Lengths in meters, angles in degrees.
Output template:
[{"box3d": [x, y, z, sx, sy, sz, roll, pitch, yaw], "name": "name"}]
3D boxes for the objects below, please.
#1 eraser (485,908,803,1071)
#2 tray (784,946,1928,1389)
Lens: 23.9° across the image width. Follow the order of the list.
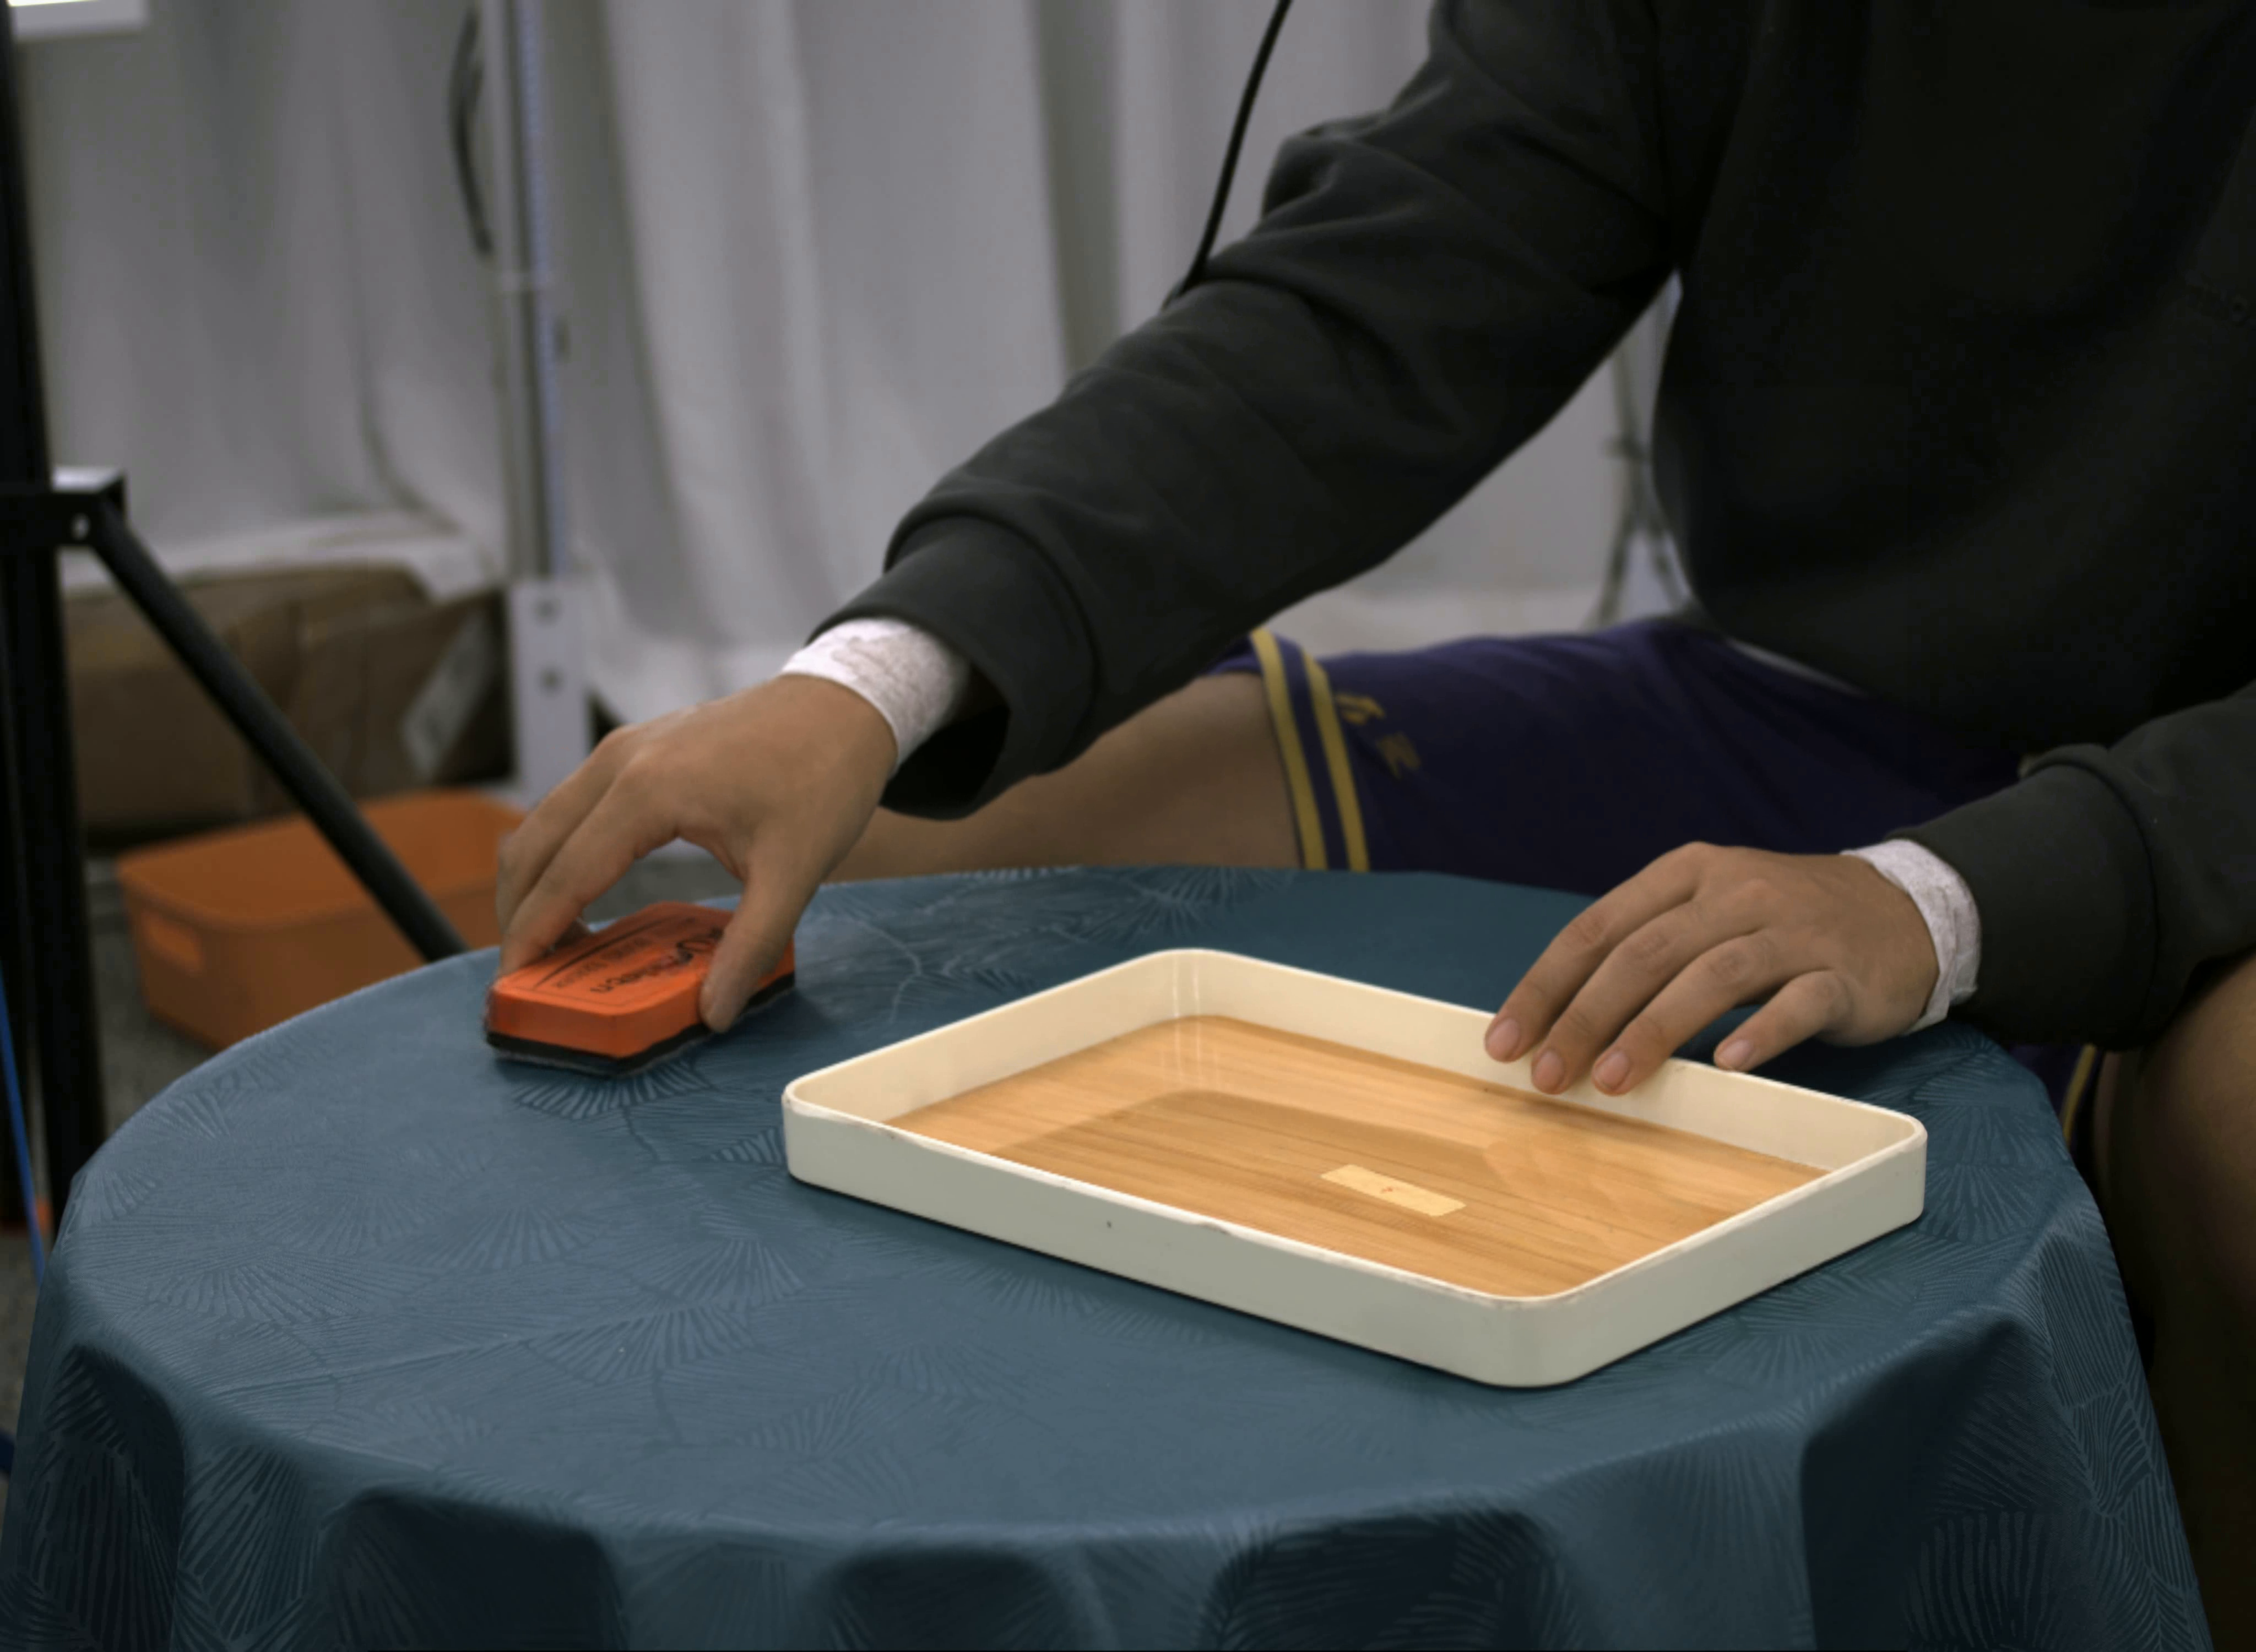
[{"box3d": [-0.157, 0.053, 1.739, 0.060, 0.023, 0.106, 8, 18, 33], "name": "eraser"}, {"box3d": [0.063, 0.095, 1.547, 0.307, 0.027, 0.187, 13, 22, 43], "name": "tray"}]
